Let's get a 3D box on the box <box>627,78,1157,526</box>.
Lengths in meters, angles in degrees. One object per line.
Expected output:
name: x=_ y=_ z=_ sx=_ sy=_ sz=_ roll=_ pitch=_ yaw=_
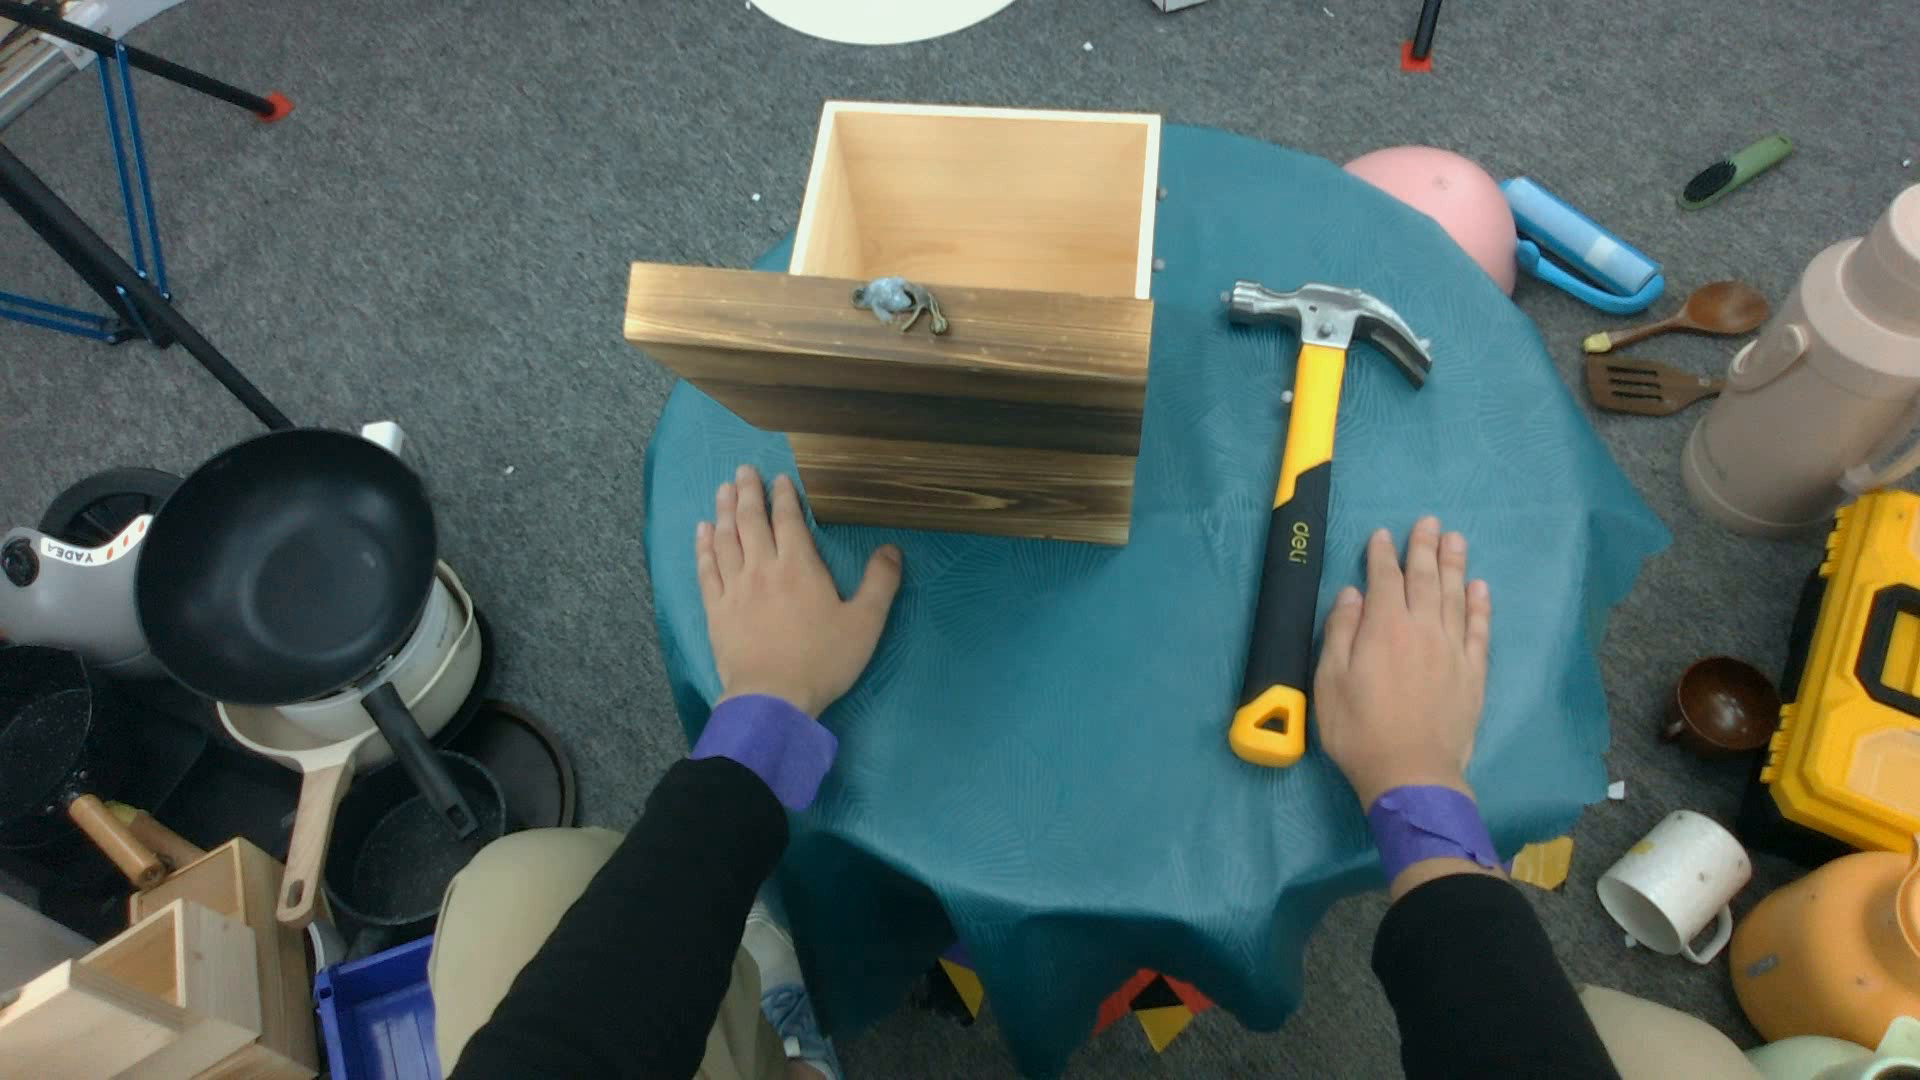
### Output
box: x=-0.009 y=-0.143 z=0.733 sx=0.208 sy=0.374 sz=0.323 roll=4 pitch=62 yaw=5

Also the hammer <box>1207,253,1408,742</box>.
hammer: x=0.198 y=-0.037 z=0.848 sx=0.131 sy=0.032 sz=0.340 roll=10 pitch=62 yaw=9
